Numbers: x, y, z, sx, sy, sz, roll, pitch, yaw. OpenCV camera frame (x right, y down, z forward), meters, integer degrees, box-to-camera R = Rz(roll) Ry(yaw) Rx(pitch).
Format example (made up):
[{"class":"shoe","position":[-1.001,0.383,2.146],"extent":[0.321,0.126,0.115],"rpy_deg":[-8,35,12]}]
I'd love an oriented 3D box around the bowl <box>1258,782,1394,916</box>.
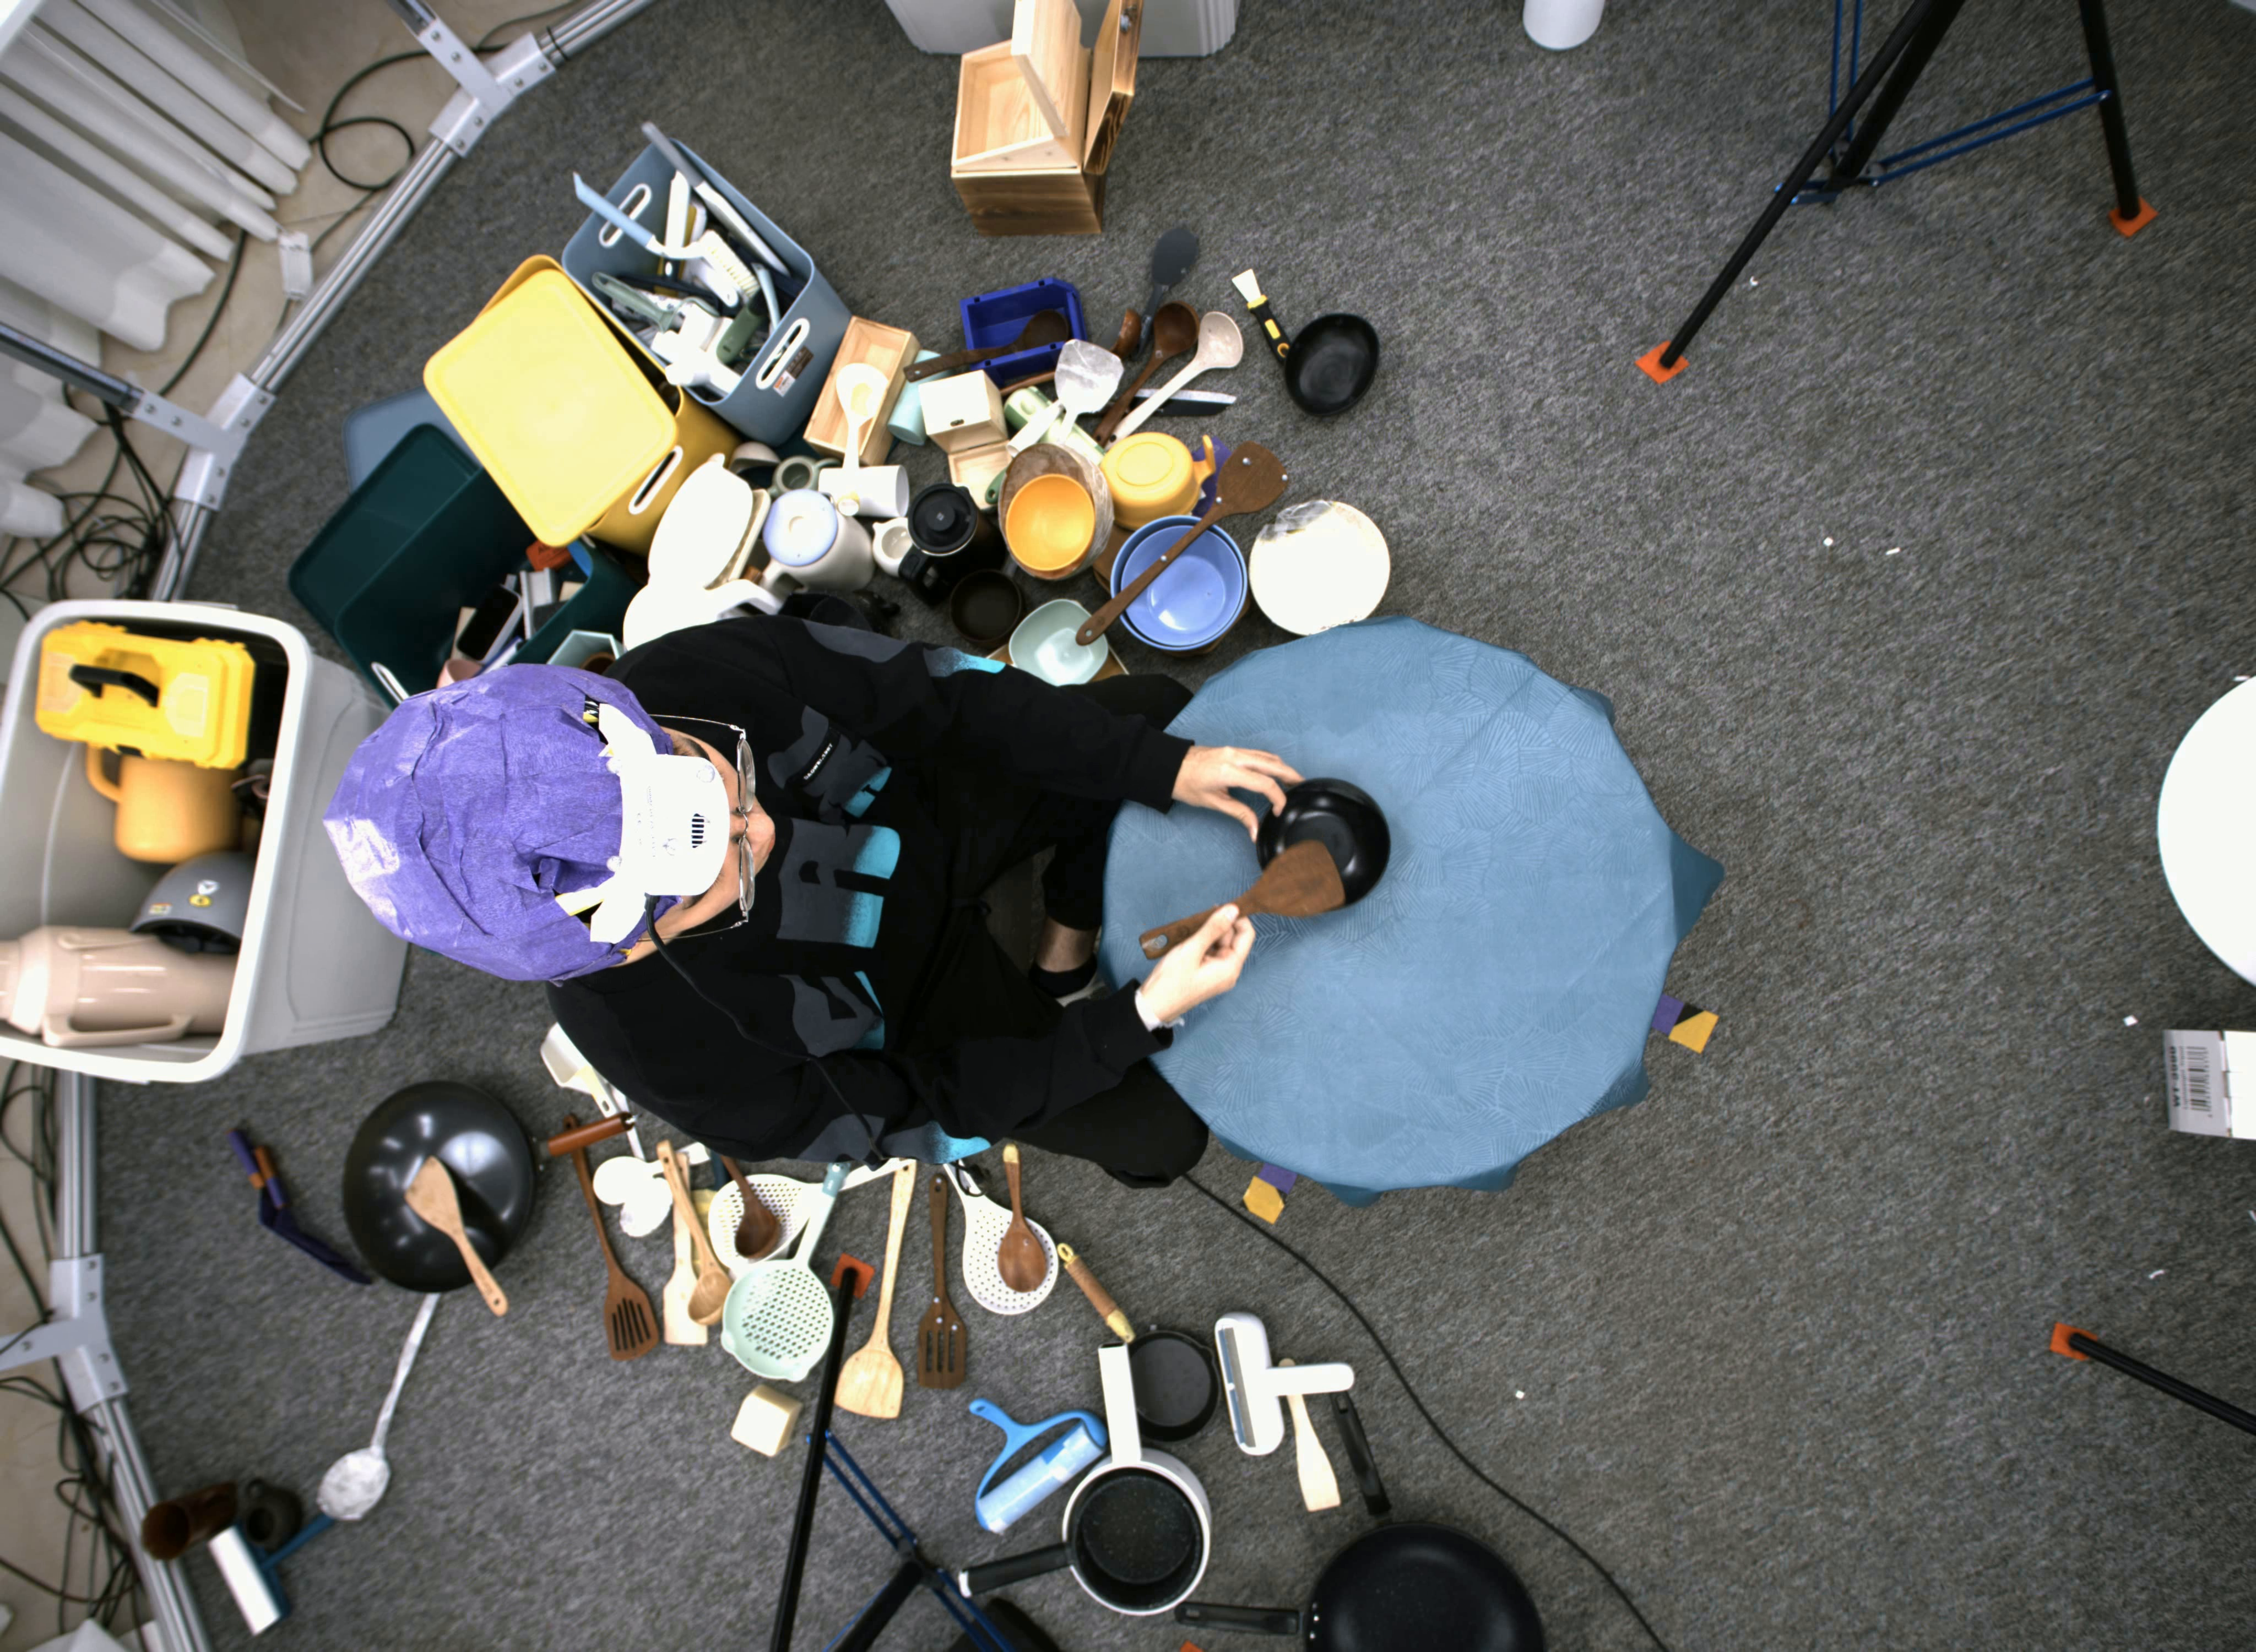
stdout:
[{"class":"bowl","position":[0.206,0.022,1.447],"extent":[0.140,0.049,0.140],"rpy_deg":[0,93,7]}]

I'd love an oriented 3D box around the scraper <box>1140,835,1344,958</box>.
[{"class":"scraper","position":[0.110,0.078,1.369],"extent":[0.210,0.011,0.076],"rpy_deg":[-23,94,-8]}]
